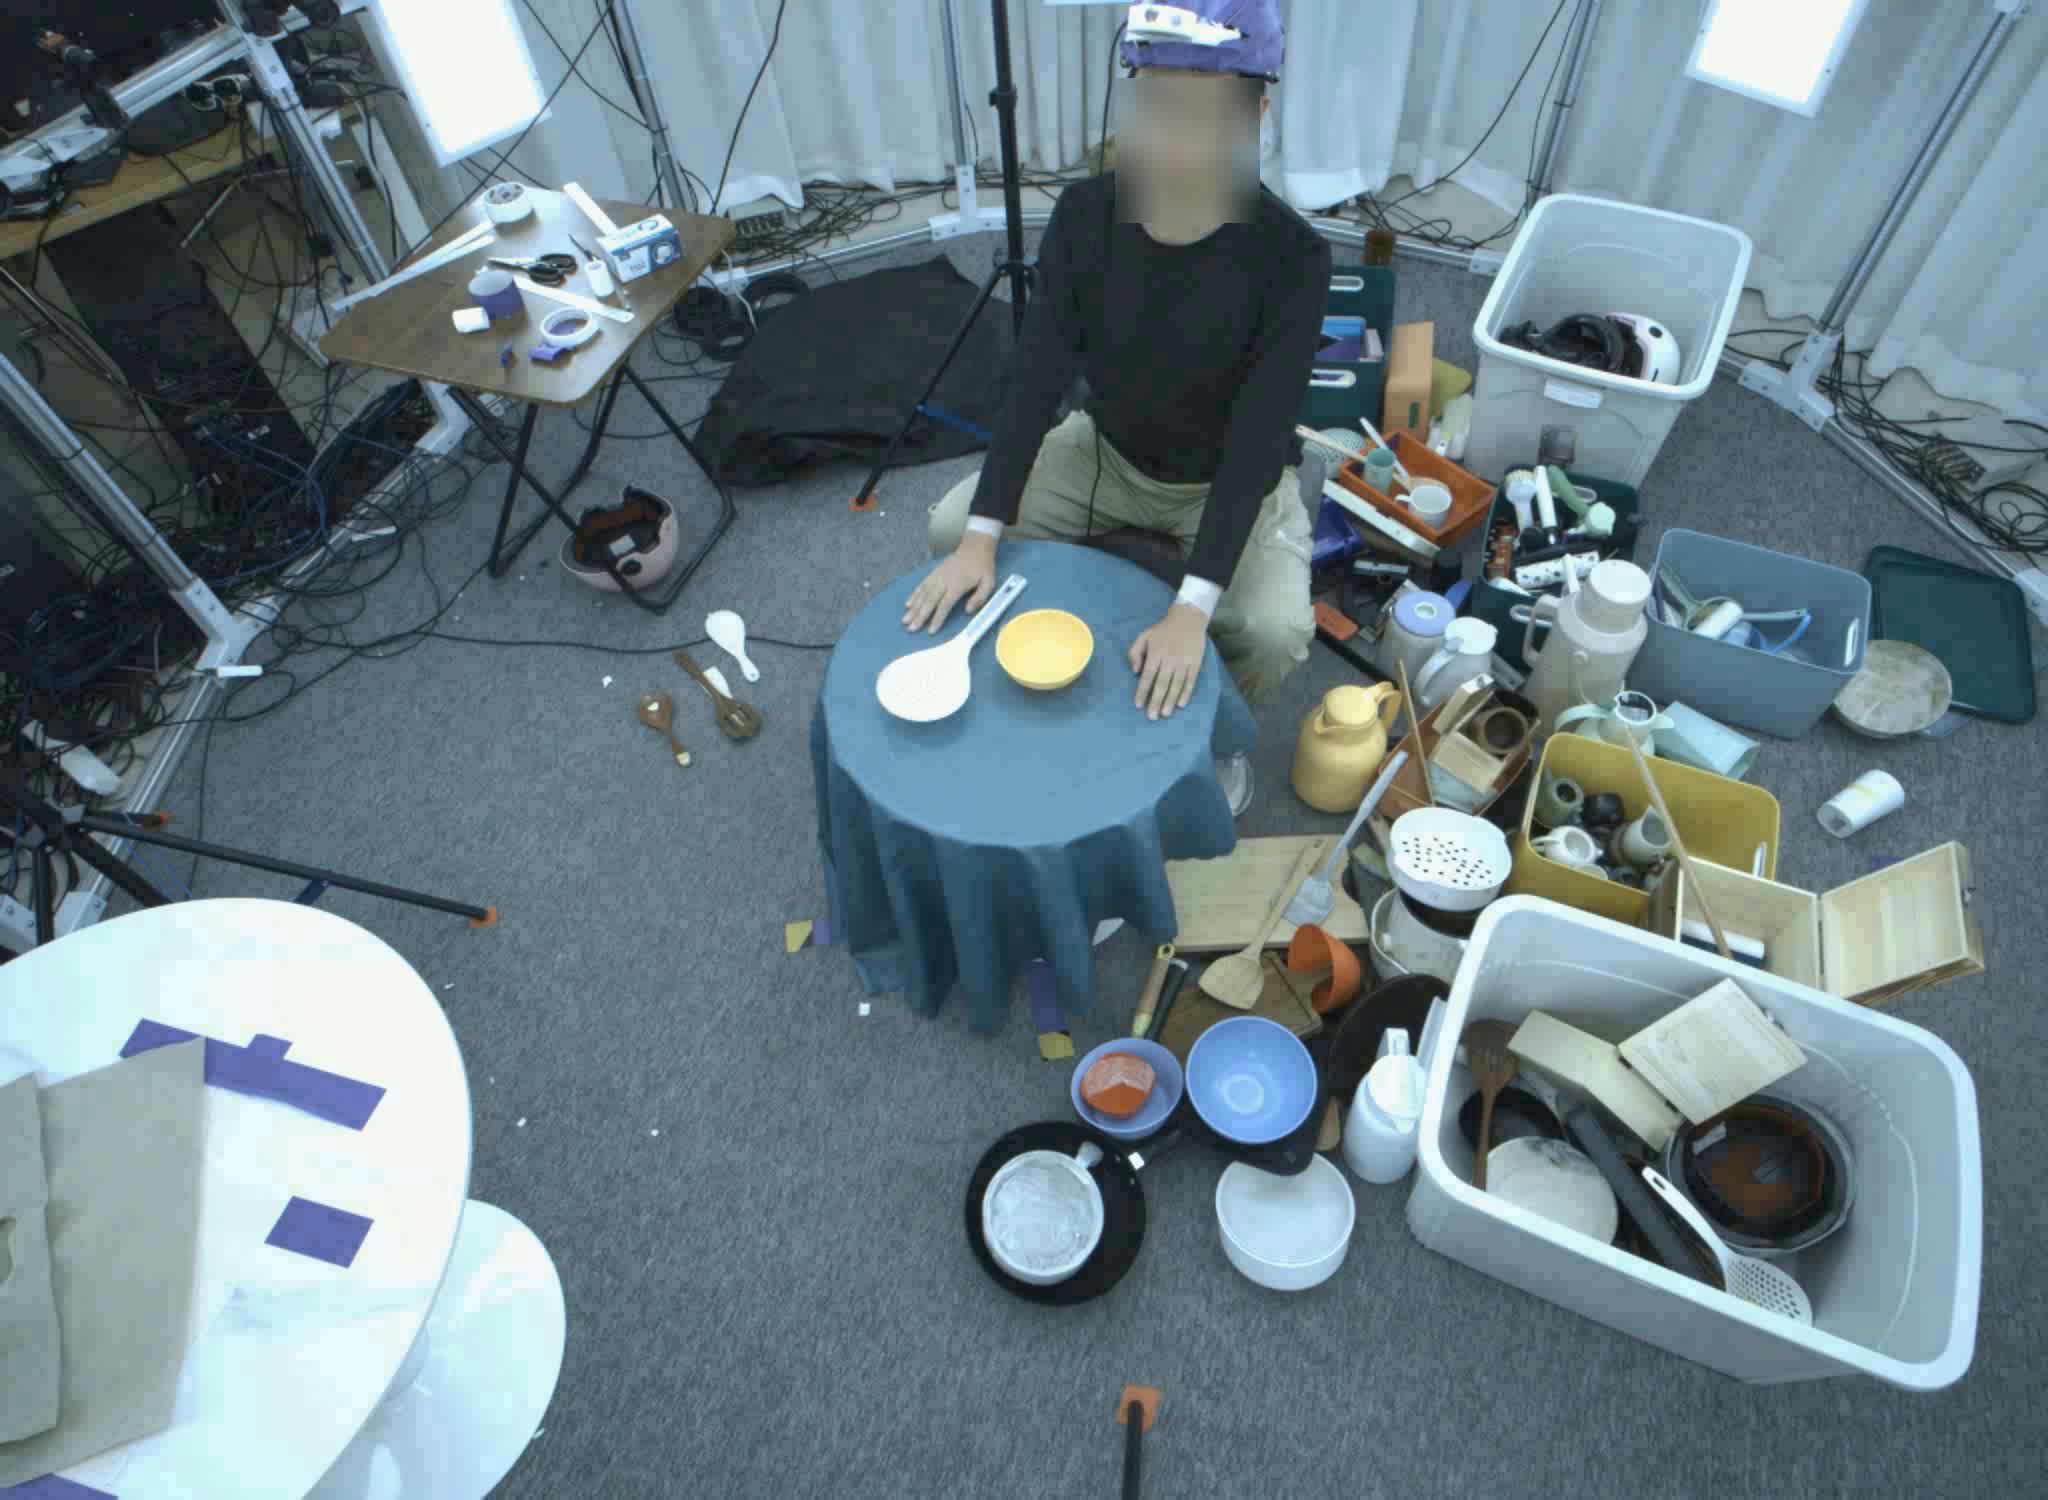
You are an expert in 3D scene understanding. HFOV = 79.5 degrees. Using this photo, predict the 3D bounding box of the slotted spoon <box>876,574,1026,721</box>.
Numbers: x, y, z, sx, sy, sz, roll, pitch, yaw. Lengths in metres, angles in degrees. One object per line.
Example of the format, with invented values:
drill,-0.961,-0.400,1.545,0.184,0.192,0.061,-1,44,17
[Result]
slotted spoon,-0.096,-0.162,1.877,0.134,0.046,0.351,24,58,17

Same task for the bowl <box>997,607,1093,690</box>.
bowl,0.032,-0.141,1.852,0.145,0.061,0.144,0,57,2
